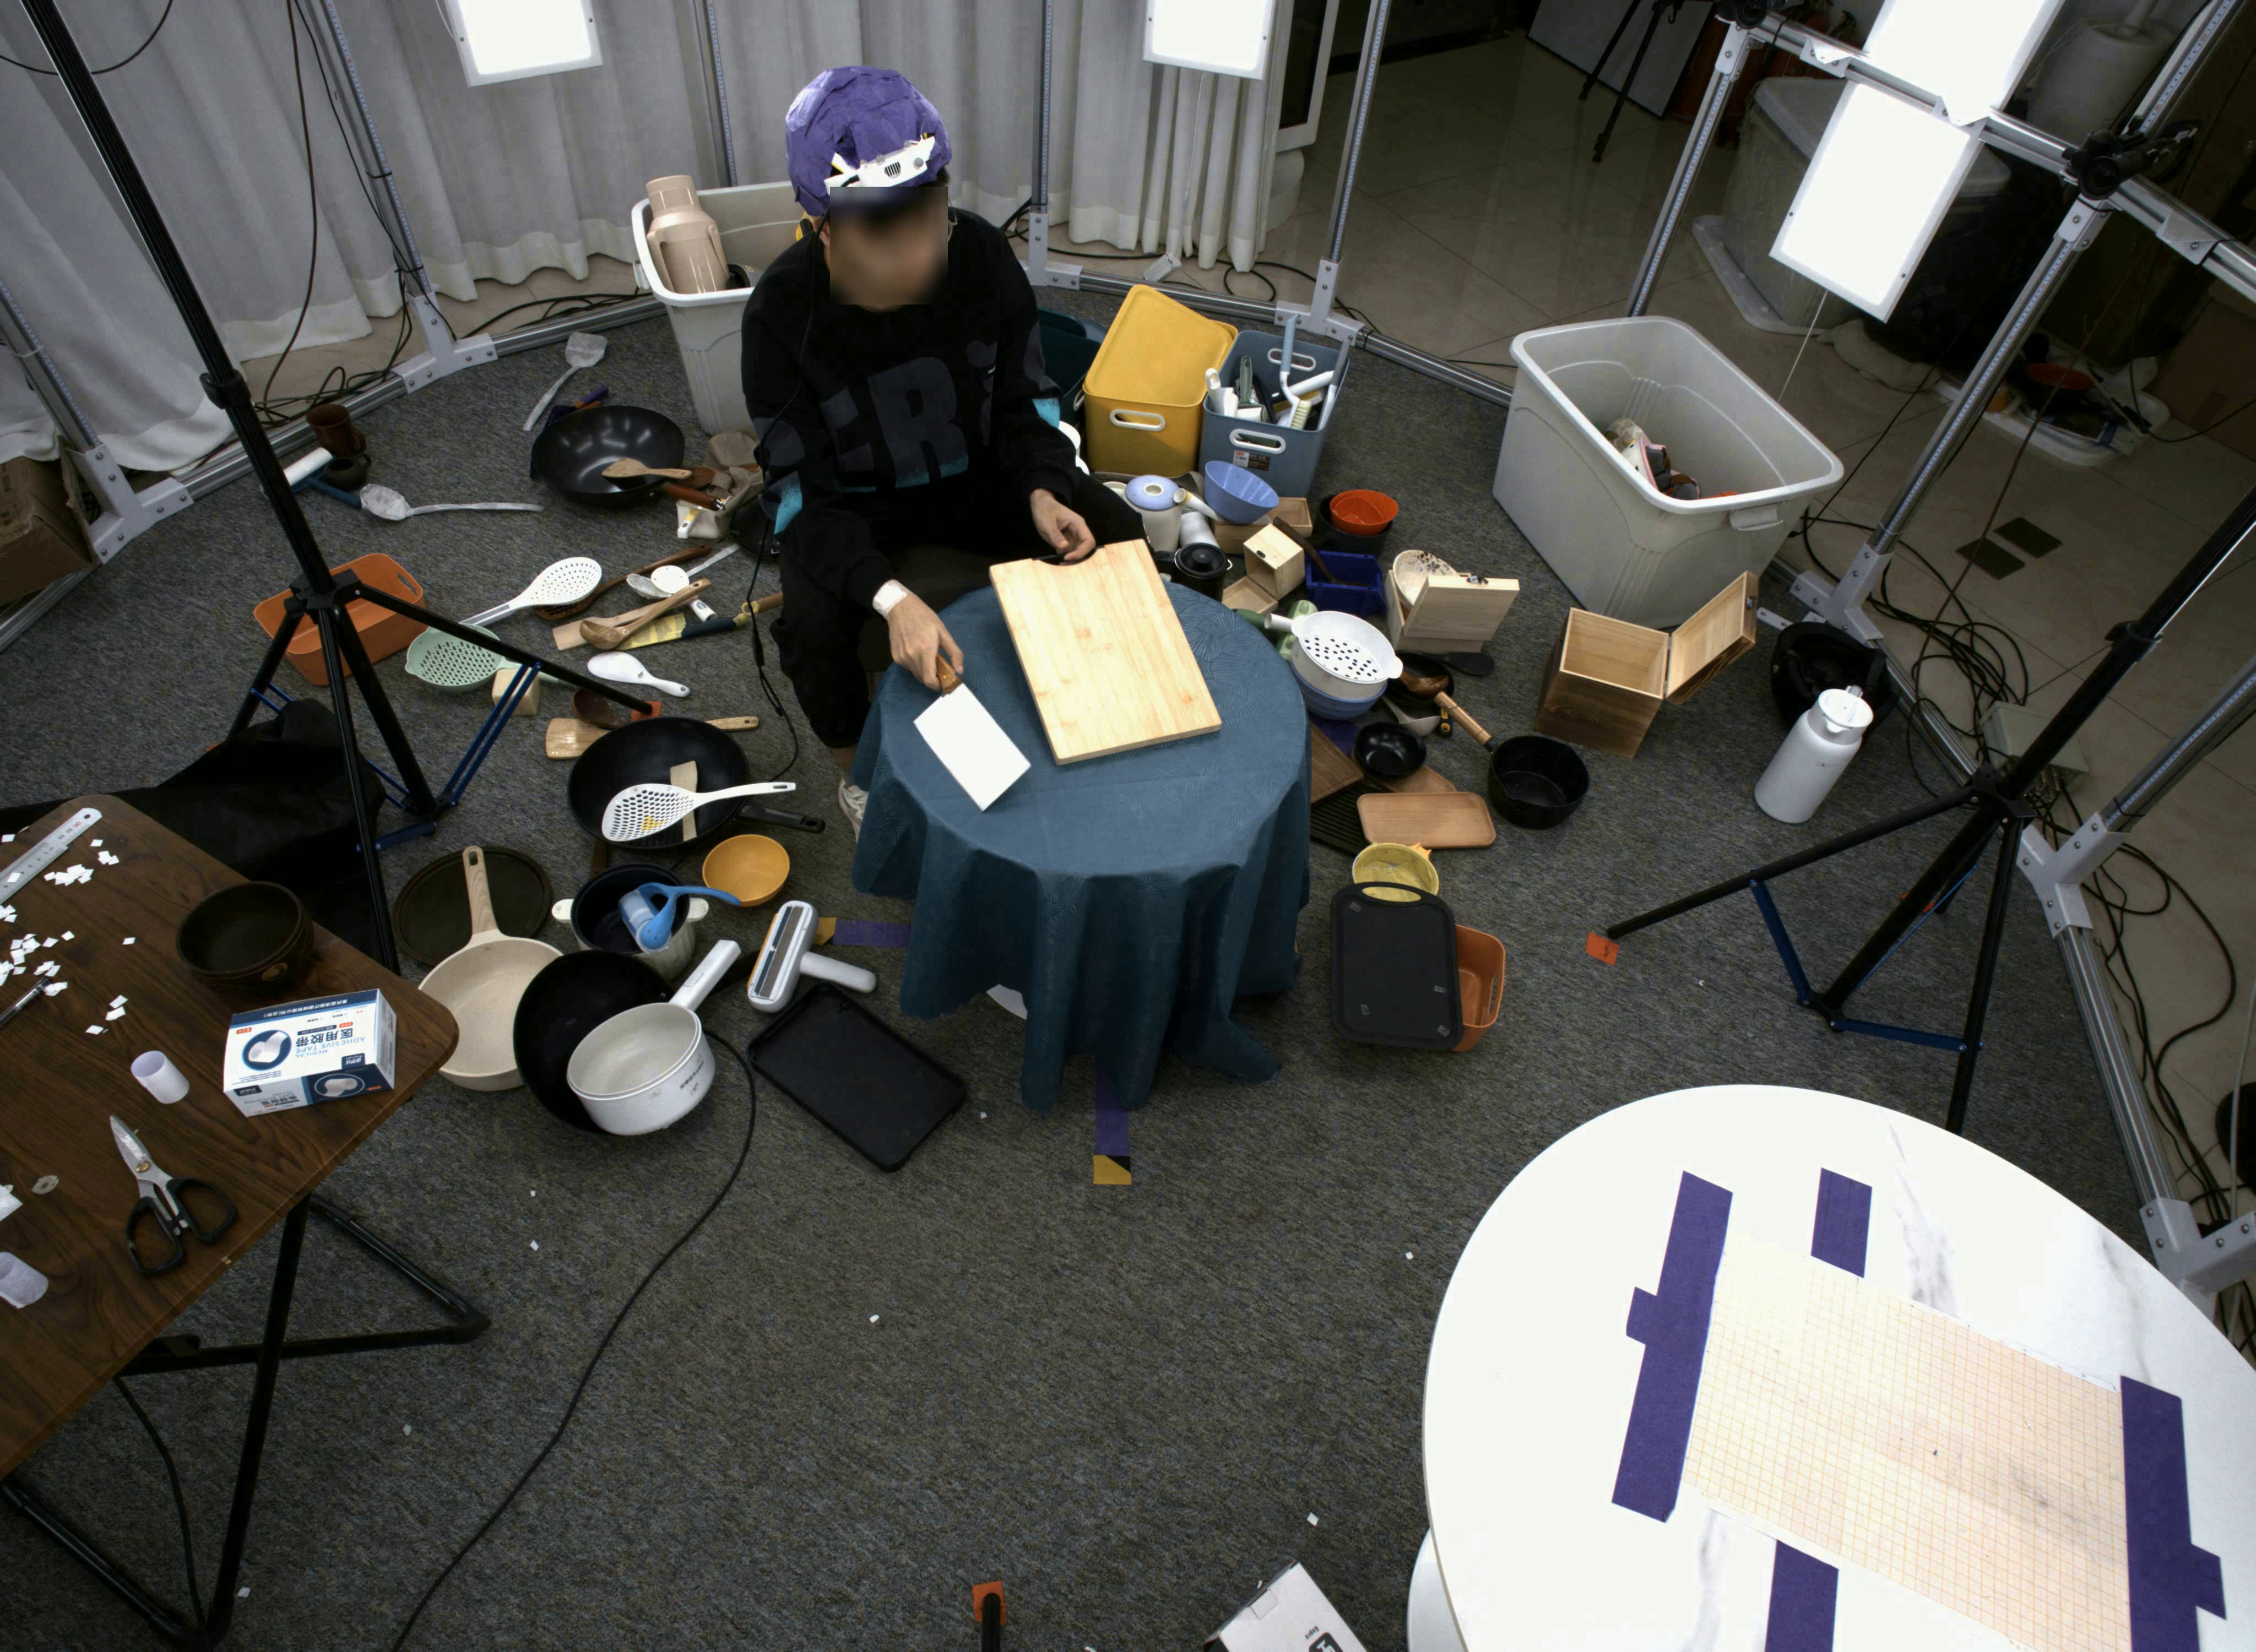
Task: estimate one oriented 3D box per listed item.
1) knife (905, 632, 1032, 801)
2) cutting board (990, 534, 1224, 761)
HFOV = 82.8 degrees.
[{"bbox_3d":[-0.238,-0.148,1.749,0.093,0.020,0.312,-41,58,2],"label":"knife"},{"bbox_3d":[-0.034,-0.261,1.836,0.251,0.023,0.355,-14,63,-15],"label":"cutting board"}]
